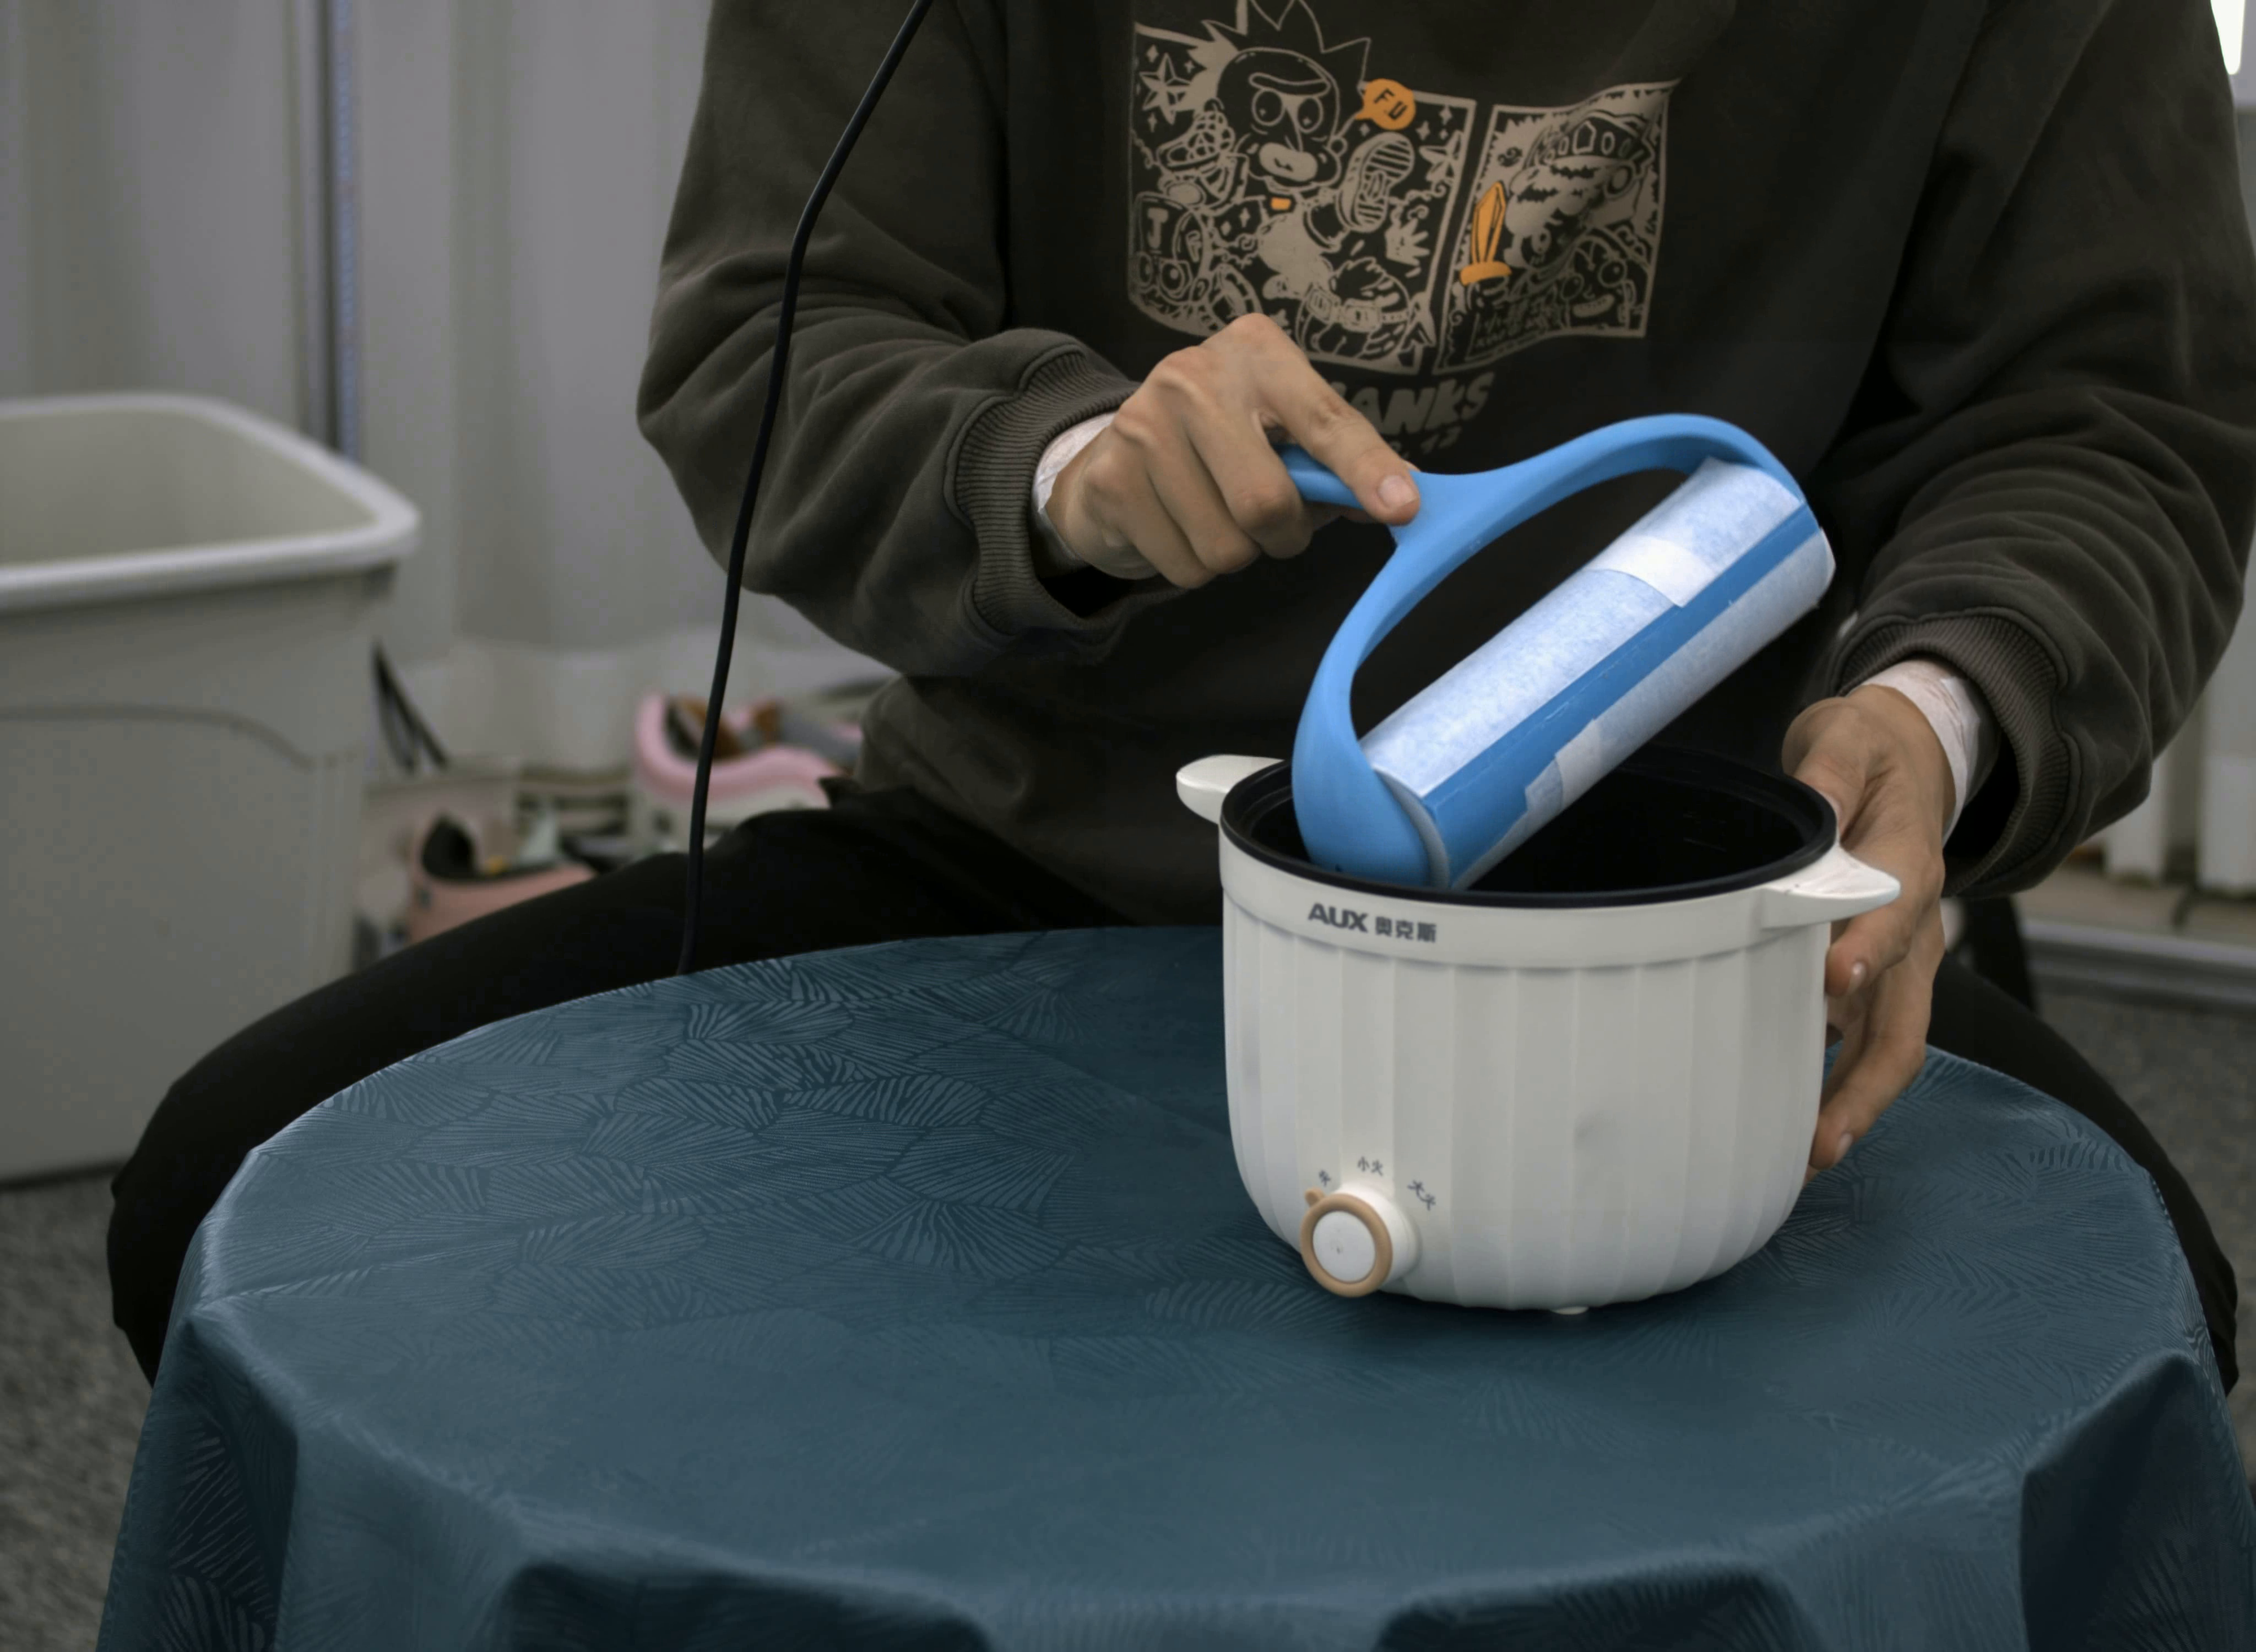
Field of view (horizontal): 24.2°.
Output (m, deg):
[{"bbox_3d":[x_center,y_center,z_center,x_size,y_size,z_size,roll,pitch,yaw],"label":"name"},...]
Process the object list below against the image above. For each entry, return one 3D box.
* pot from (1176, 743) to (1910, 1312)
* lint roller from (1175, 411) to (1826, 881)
[{"bbox_3d":[0.116,0.060,1.562,0.237,0.143,0.191,9,15,32],"label":"pot"},{"bbox_3d":[0.088,-0.074,1.600,0.178,0.068,0.229,33,52,19],"label":"lint roller"}]
